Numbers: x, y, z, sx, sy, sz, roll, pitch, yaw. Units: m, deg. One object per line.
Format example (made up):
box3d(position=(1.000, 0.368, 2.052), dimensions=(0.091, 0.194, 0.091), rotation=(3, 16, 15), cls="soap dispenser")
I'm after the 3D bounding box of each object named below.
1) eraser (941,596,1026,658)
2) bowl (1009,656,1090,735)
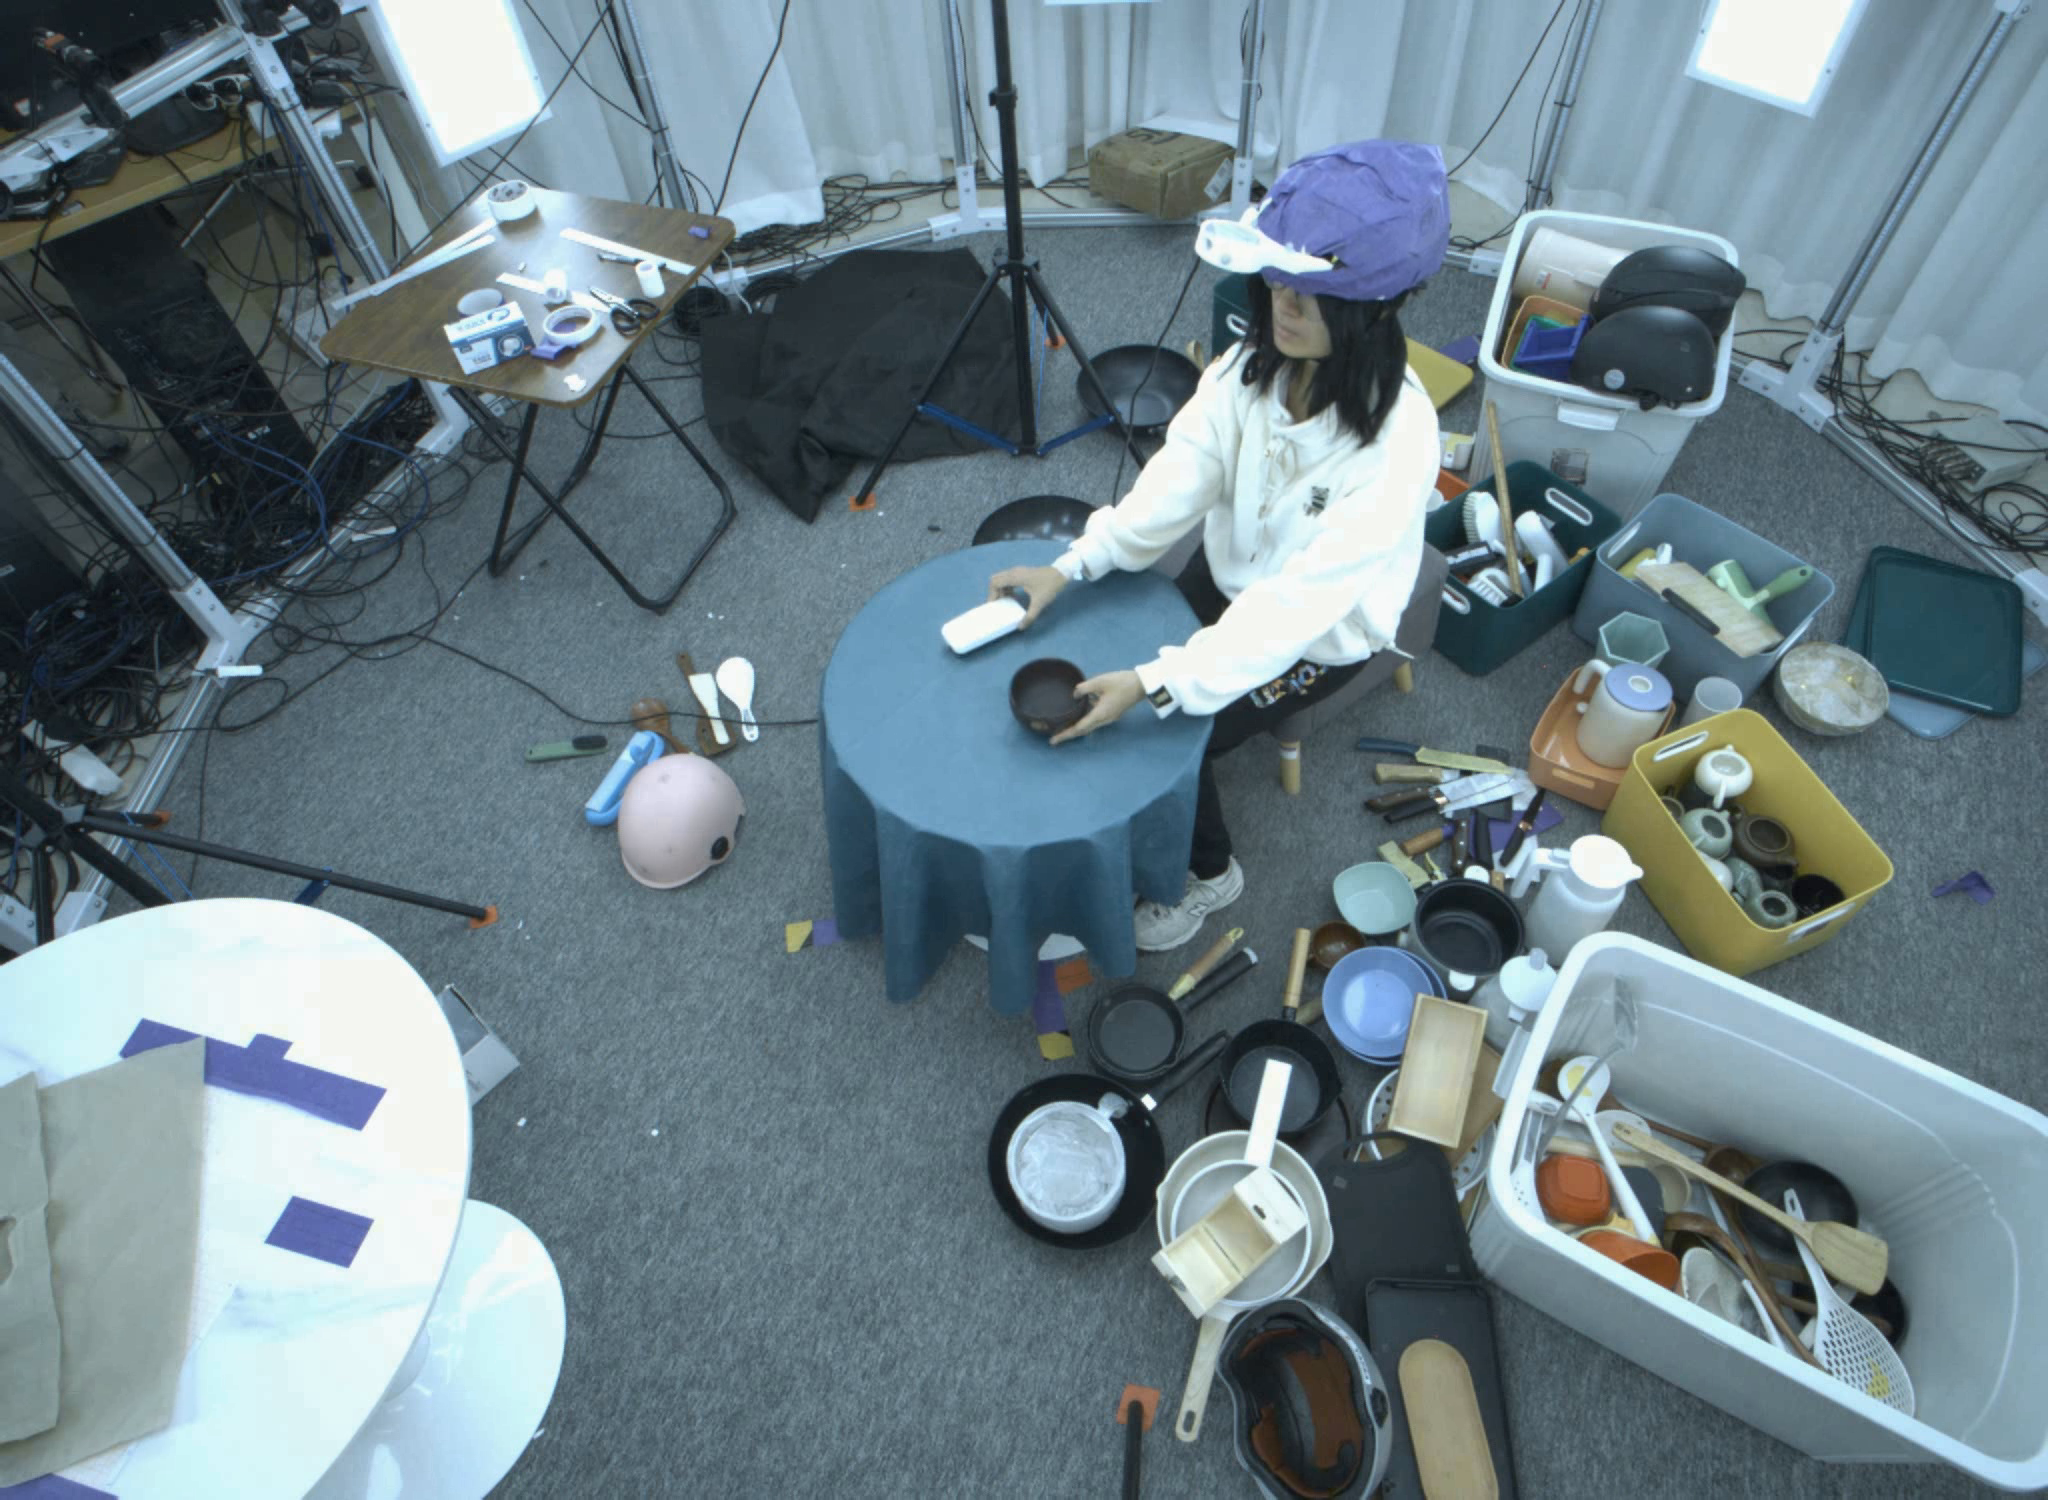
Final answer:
box3d(position=(-0.061, -0.192, 1.905), dimensions=(0.132, 0.035, 0.062), rotation=(-28, 54, -16), cls="eraser")
box3d(position=(0.037, -0.072, 1.793), dimensions=(0.118, 0.070, 0.117), rotation=(0, 56, 1), cls="bowl")
